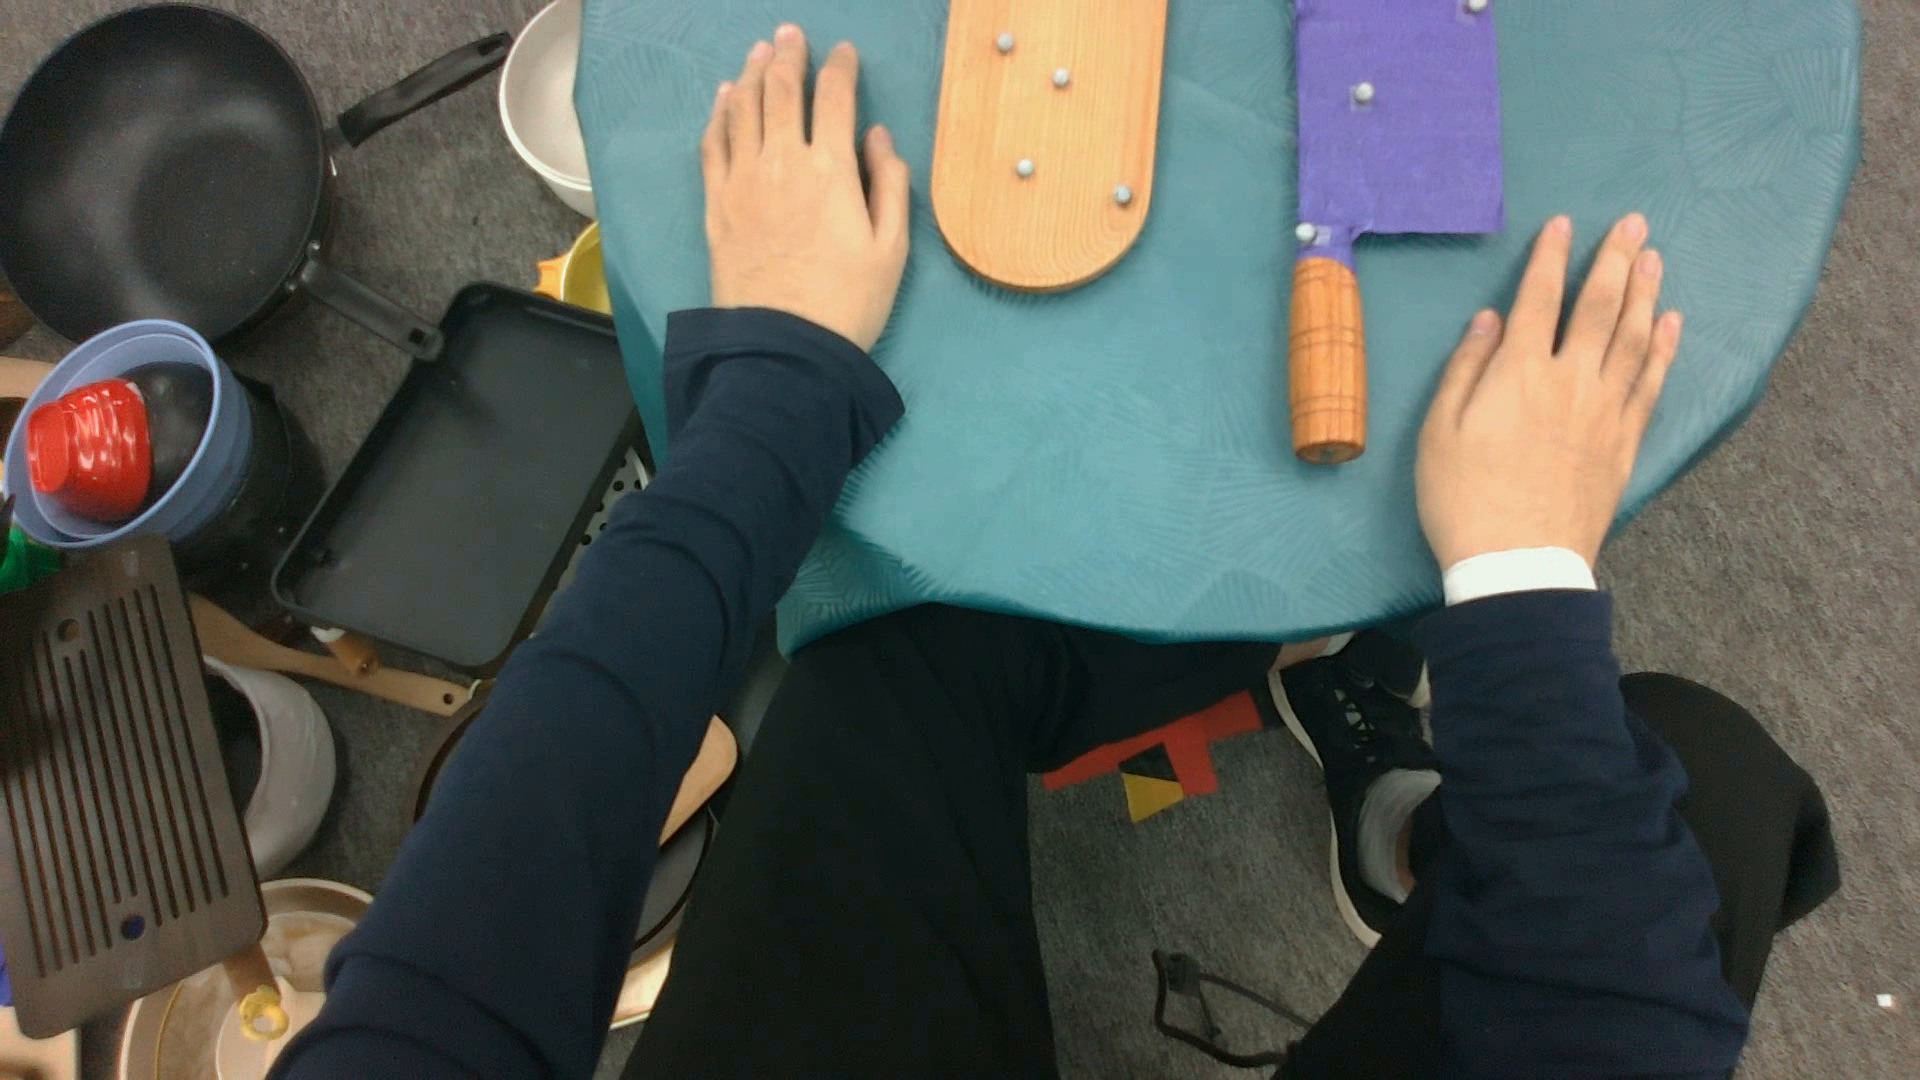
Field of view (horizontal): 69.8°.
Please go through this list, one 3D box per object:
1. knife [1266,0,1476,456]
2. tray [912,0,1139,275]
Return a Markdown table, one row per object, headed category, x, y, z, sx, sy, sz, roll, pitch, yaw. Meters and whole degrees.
| category | x | y | z | sx | sy | sz | roll | pitch | yaw |
| --- | --- | --- | --- | --- | --- | --- | --- | --- | --- |
| knife | 0.185 | -0.192 | 0.626 | 0.104 | 0.032 | 0.316 | 0 | 76 | 3 |
| tray | 0.033 | -0.232 | 0.649 | 0.101 | 0.020 | 0.231 | 3 | 75 | 3 |
